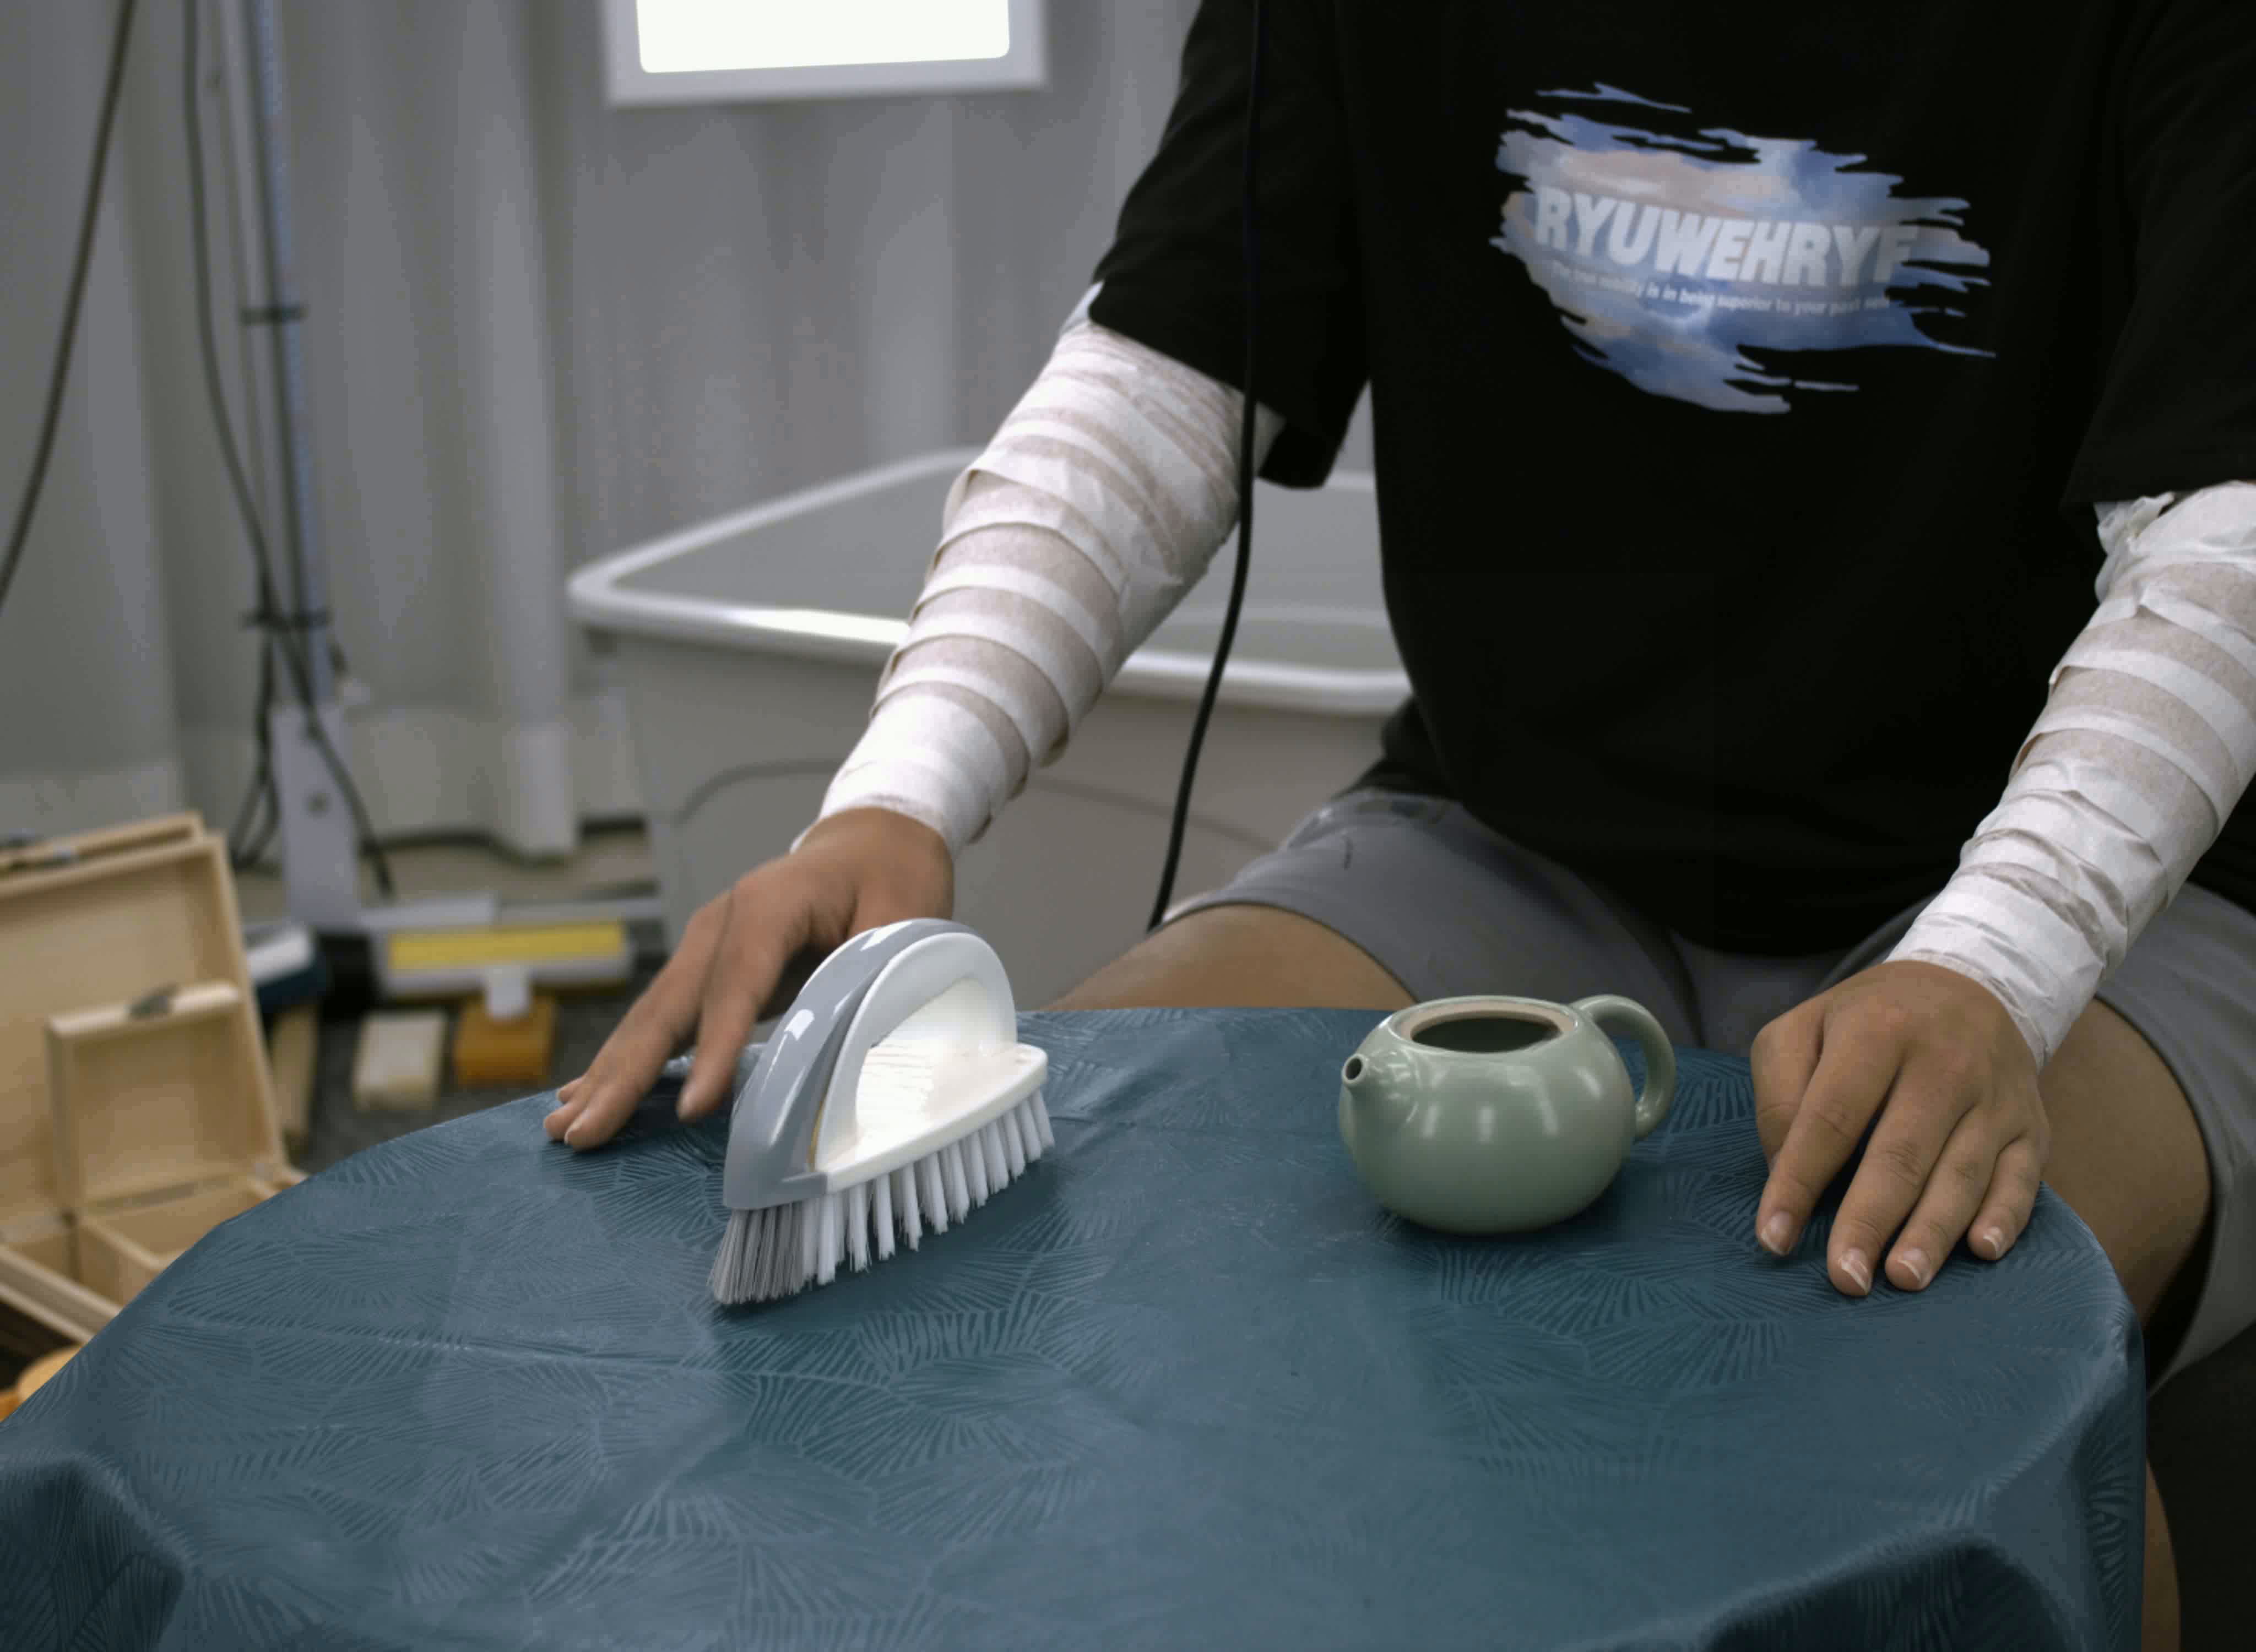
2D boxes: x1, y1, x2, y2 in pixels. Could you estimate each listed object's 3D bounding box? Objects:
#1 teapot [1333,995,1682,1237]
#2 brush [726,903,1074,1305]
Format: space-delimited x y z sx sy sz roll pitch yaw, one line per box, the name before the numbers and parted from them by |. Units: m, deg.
teapot | 0.118 0.088 1.678 0.128 0.061 0.092 -11 14 -30
brush | -0.079 0.080 1.680 0.061 0.094 0.176 0 15 27
